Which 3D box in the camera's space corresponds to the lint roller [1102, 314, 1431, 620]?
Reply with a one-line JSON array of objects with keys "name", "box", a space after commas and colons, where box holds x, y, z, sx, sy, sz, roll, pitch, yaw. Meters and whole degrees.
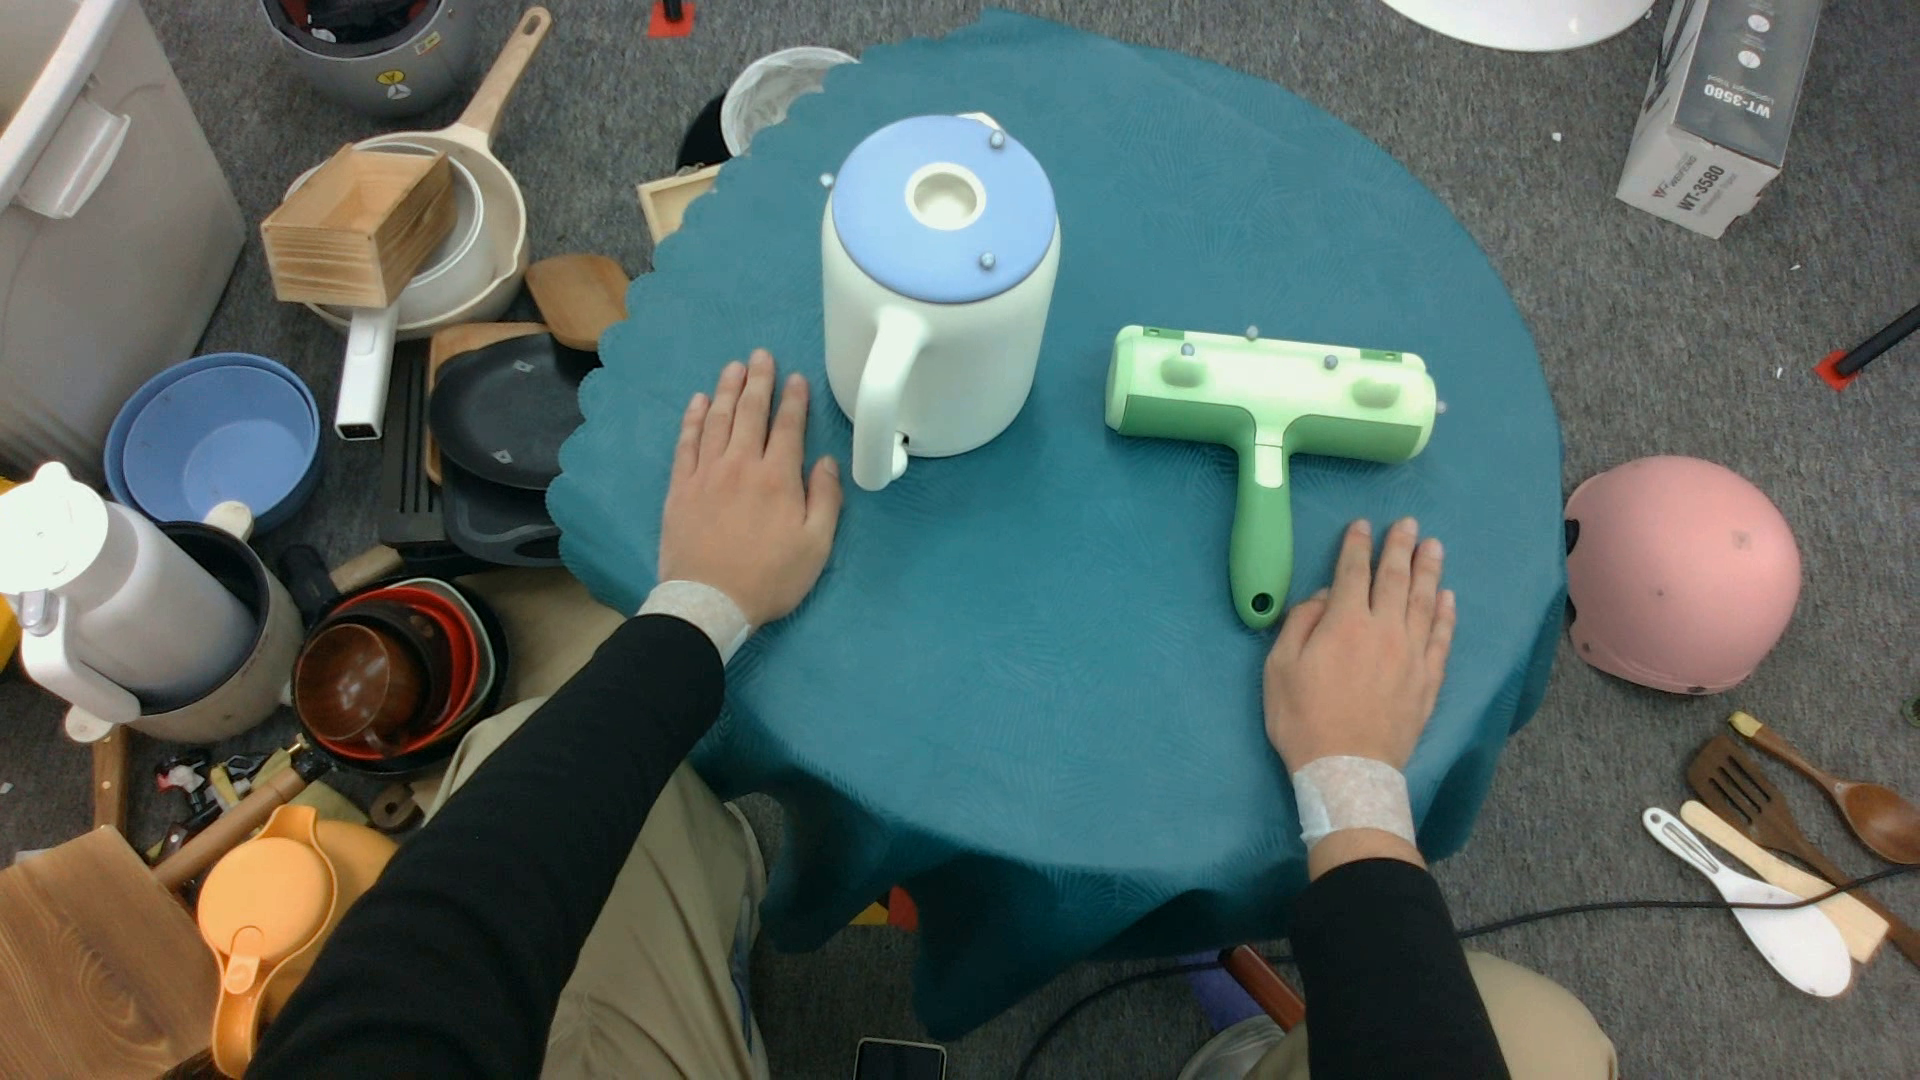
[{"name": "lint roller", "box": [0.183, -0.049, 0.821, 0.198, 0.082, 0.184, 6, 63, -1]}]

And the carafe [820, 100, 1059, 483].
[{"name": "carafe", "box": [-0.022, -0.127, 0.786, 0.132, 0.182, 0.192, 16, 68, 3]}]
